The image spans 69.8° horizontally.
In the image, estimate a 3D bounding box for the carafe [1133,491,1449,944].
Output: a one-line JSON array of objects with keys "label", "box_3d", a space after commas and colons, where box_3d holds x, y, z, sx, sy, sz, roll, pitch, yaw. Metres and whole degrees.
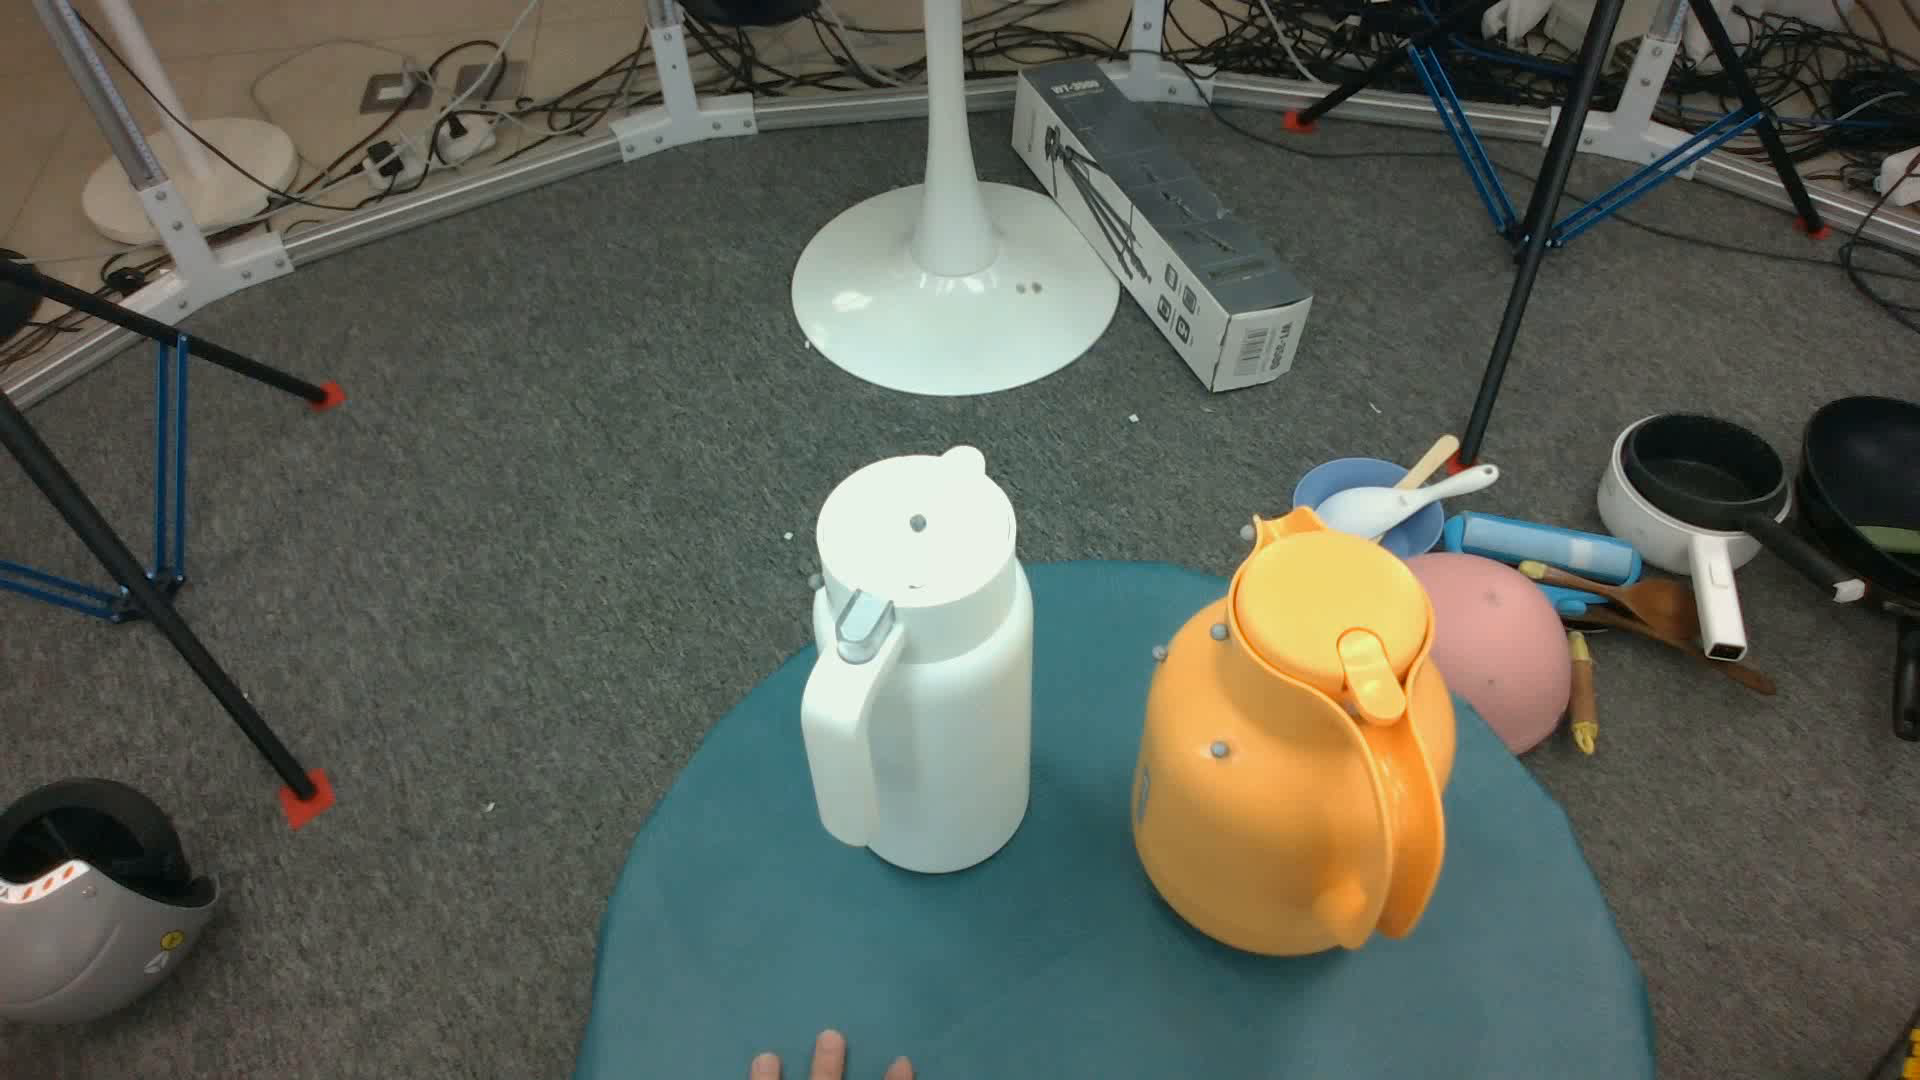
[{"label": "carafe", "box_3d": [0.182, 0.115, 0.738, 0.163, 0.259, 0.203, -10, 49, -3]}]

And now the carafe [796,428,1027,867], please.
[{"label": "carafe", "box_3d": [-0.028, 0.086, 0.763, 0.124, 0.267, 0.173, 18, 53, 14]}]
